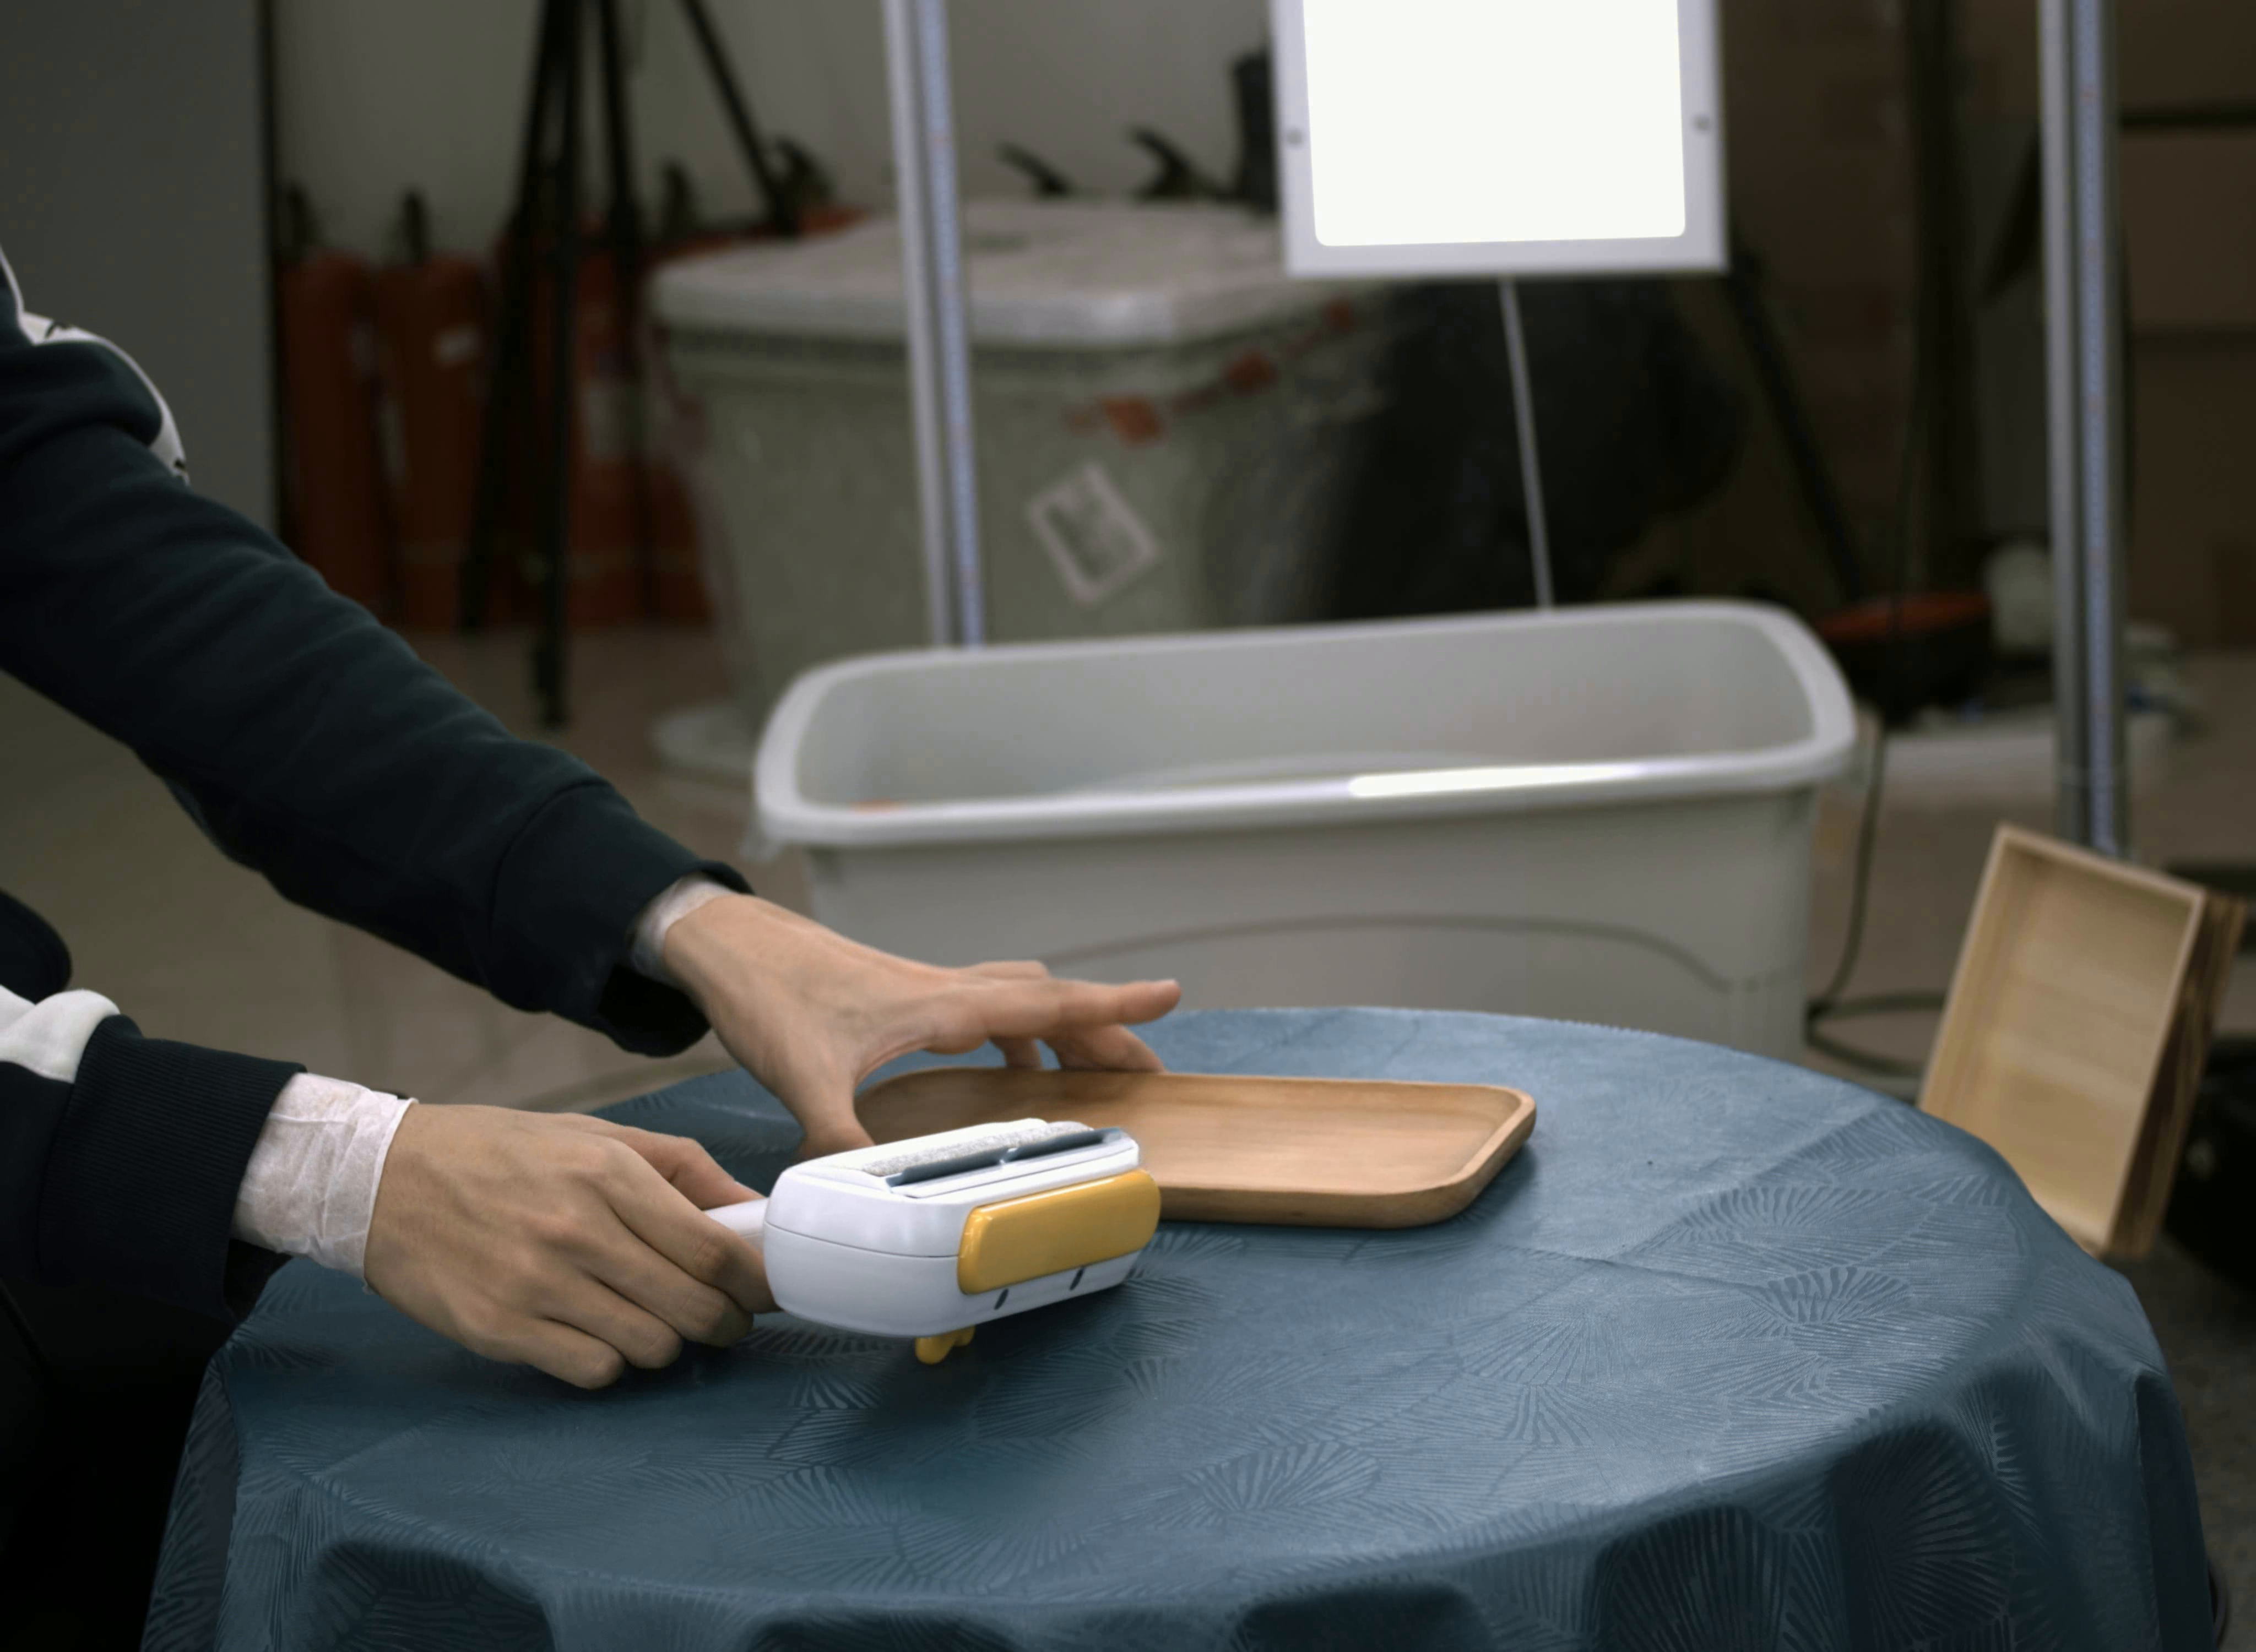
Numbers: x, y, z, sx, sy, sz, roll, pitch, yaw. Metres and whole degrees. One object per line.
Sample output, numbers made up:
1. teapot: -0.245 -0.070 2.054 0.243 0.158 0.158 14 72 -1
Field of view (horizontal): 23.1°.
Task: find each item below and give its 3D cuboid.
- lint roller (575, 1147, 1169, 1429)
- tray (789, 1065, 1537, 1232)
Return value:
1. lint roller: -0.100 0.151 1.766 0.196 0.074 0.188 -14 -2 31
2. tray: 0.012 0.112 1.918 0.254 0.023 0.128 0 13 23
